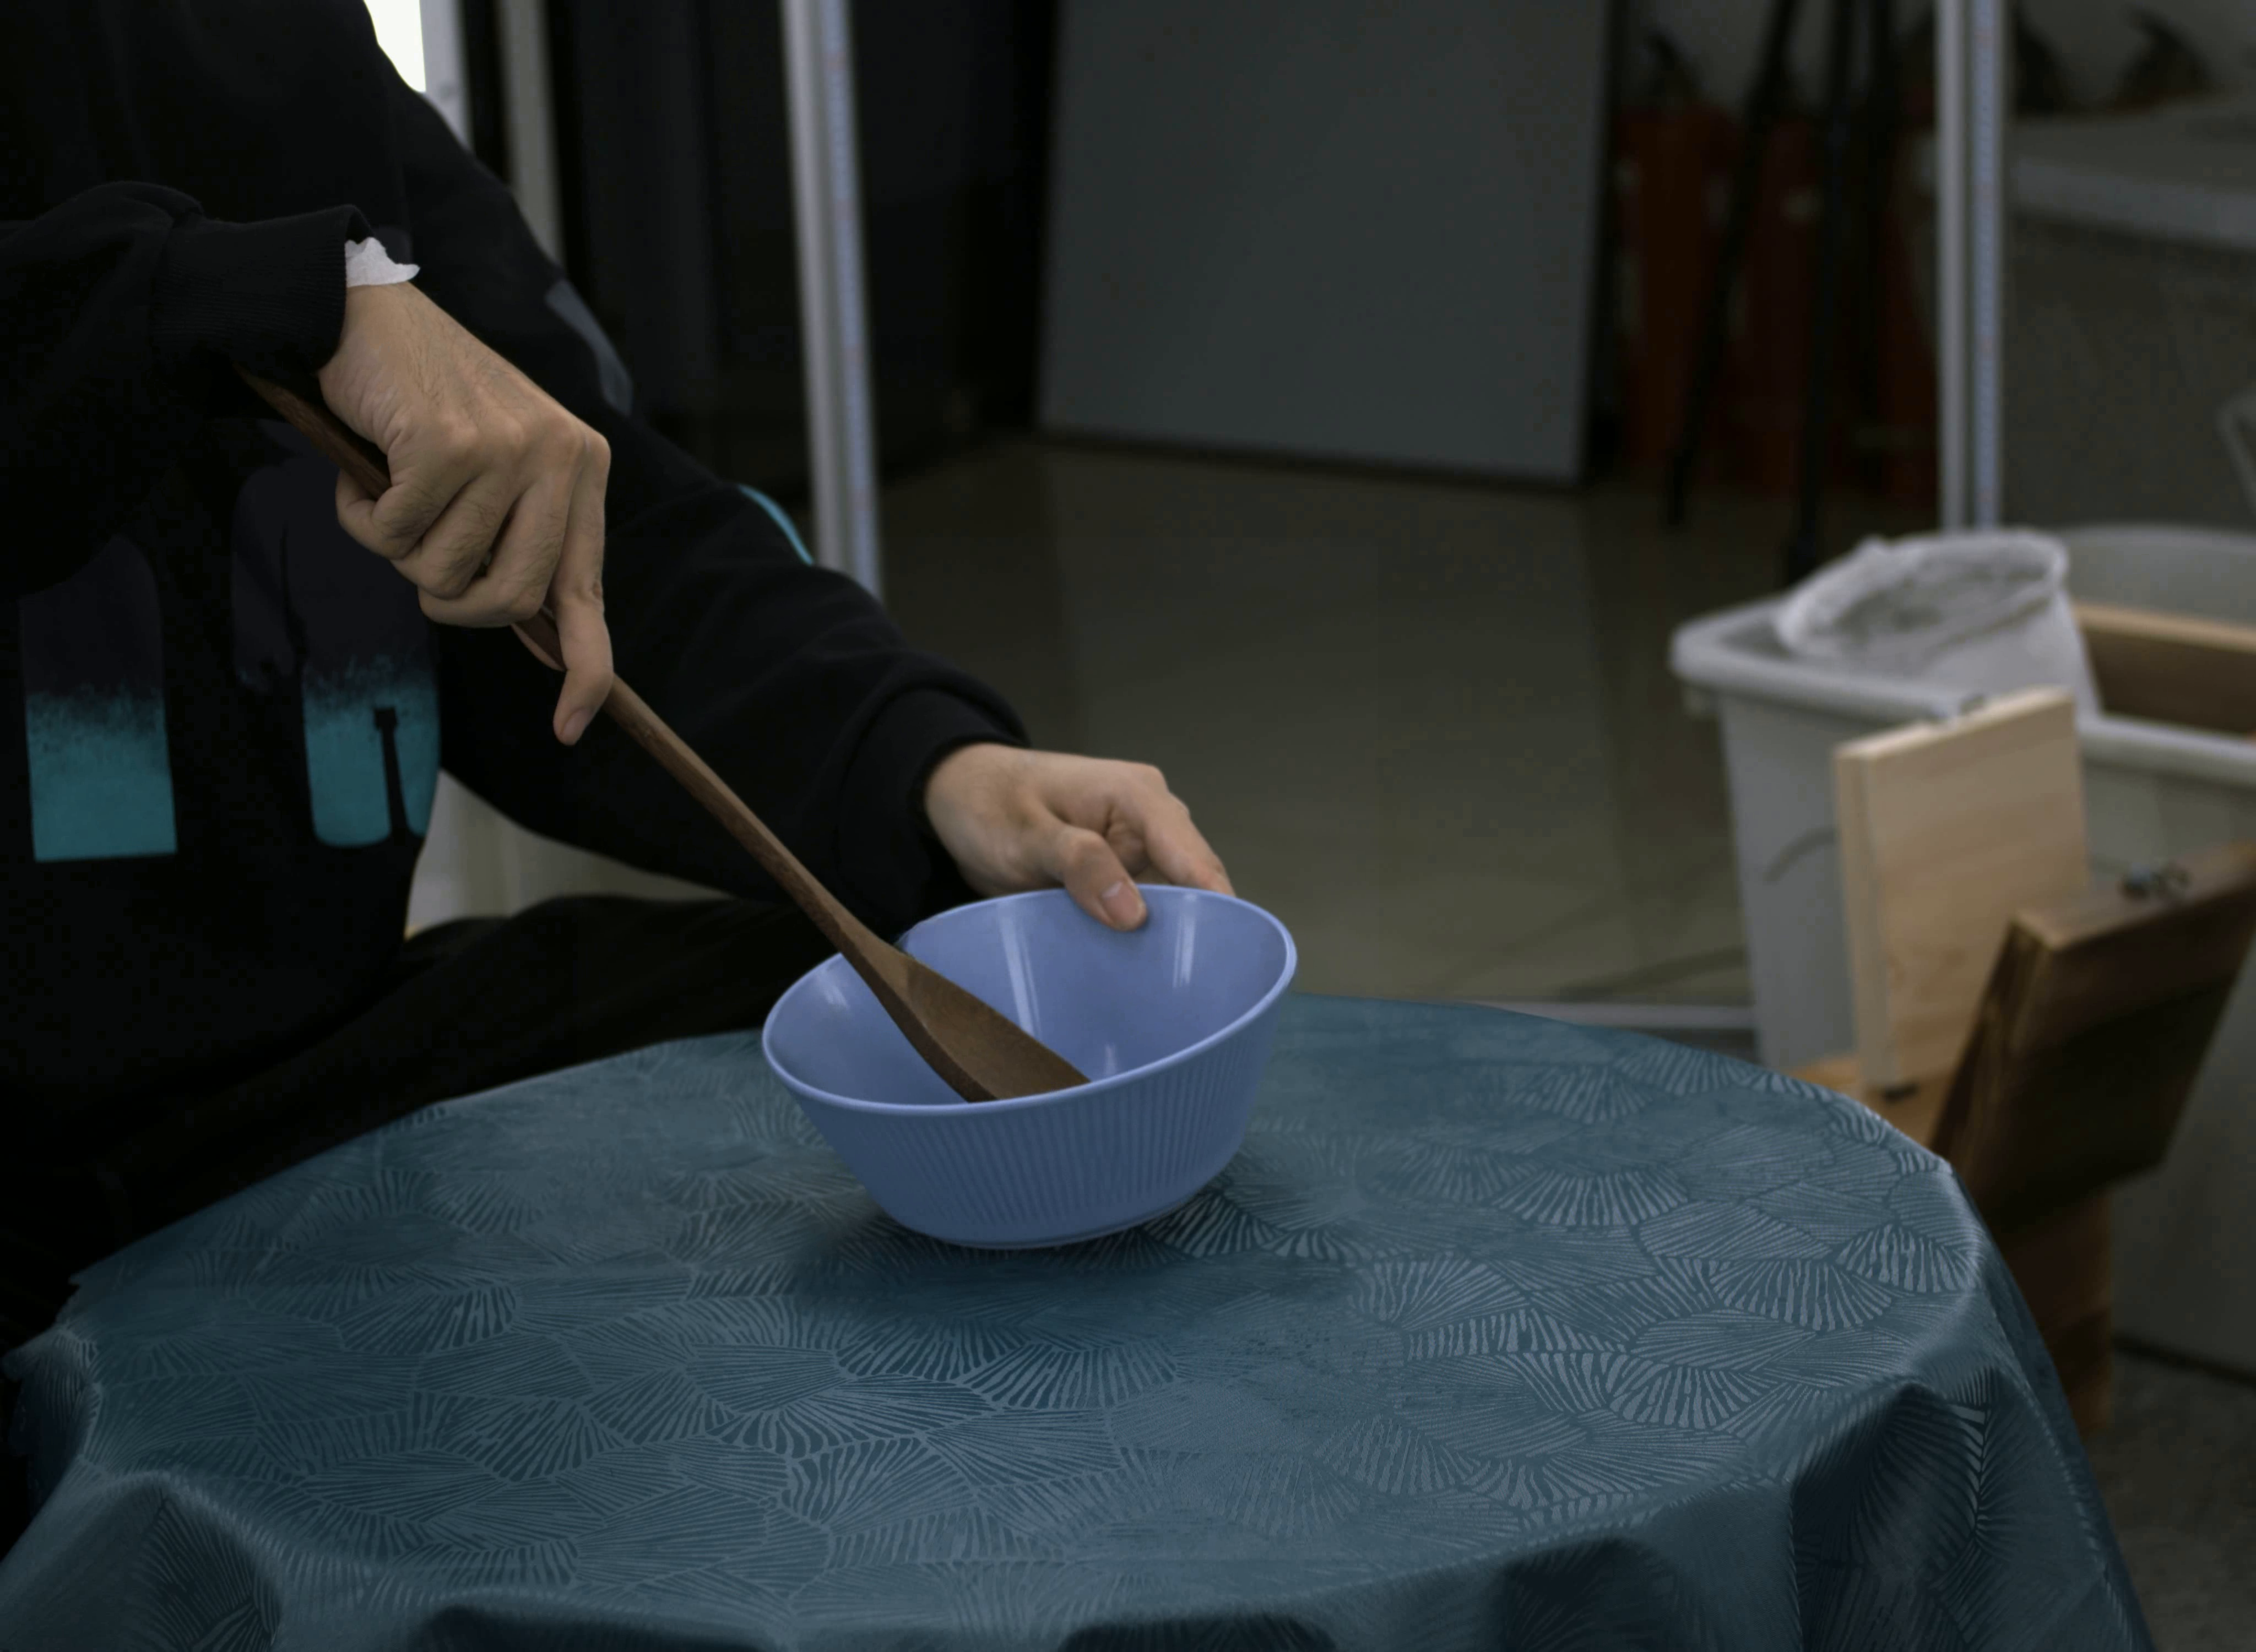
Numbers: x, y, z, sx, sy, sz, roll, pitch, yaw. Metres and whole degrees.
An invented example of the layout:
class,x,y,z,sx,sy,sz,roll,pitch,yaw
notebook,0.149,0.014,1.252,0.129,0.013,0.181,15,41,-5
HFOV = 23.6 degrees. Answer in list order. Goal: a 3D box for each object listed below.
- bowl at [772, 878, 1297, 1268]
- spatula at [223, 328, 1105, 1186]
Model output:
class,x,y,z,sx,sy,sz,roll,pitch,yaw
bowl,-0.024,0.086,1.746,0.174,0.071,0.176,-12,23,4
spatula,-0.141,-0.022,1.708,0.016,0.385,0.096,-44,6,10
